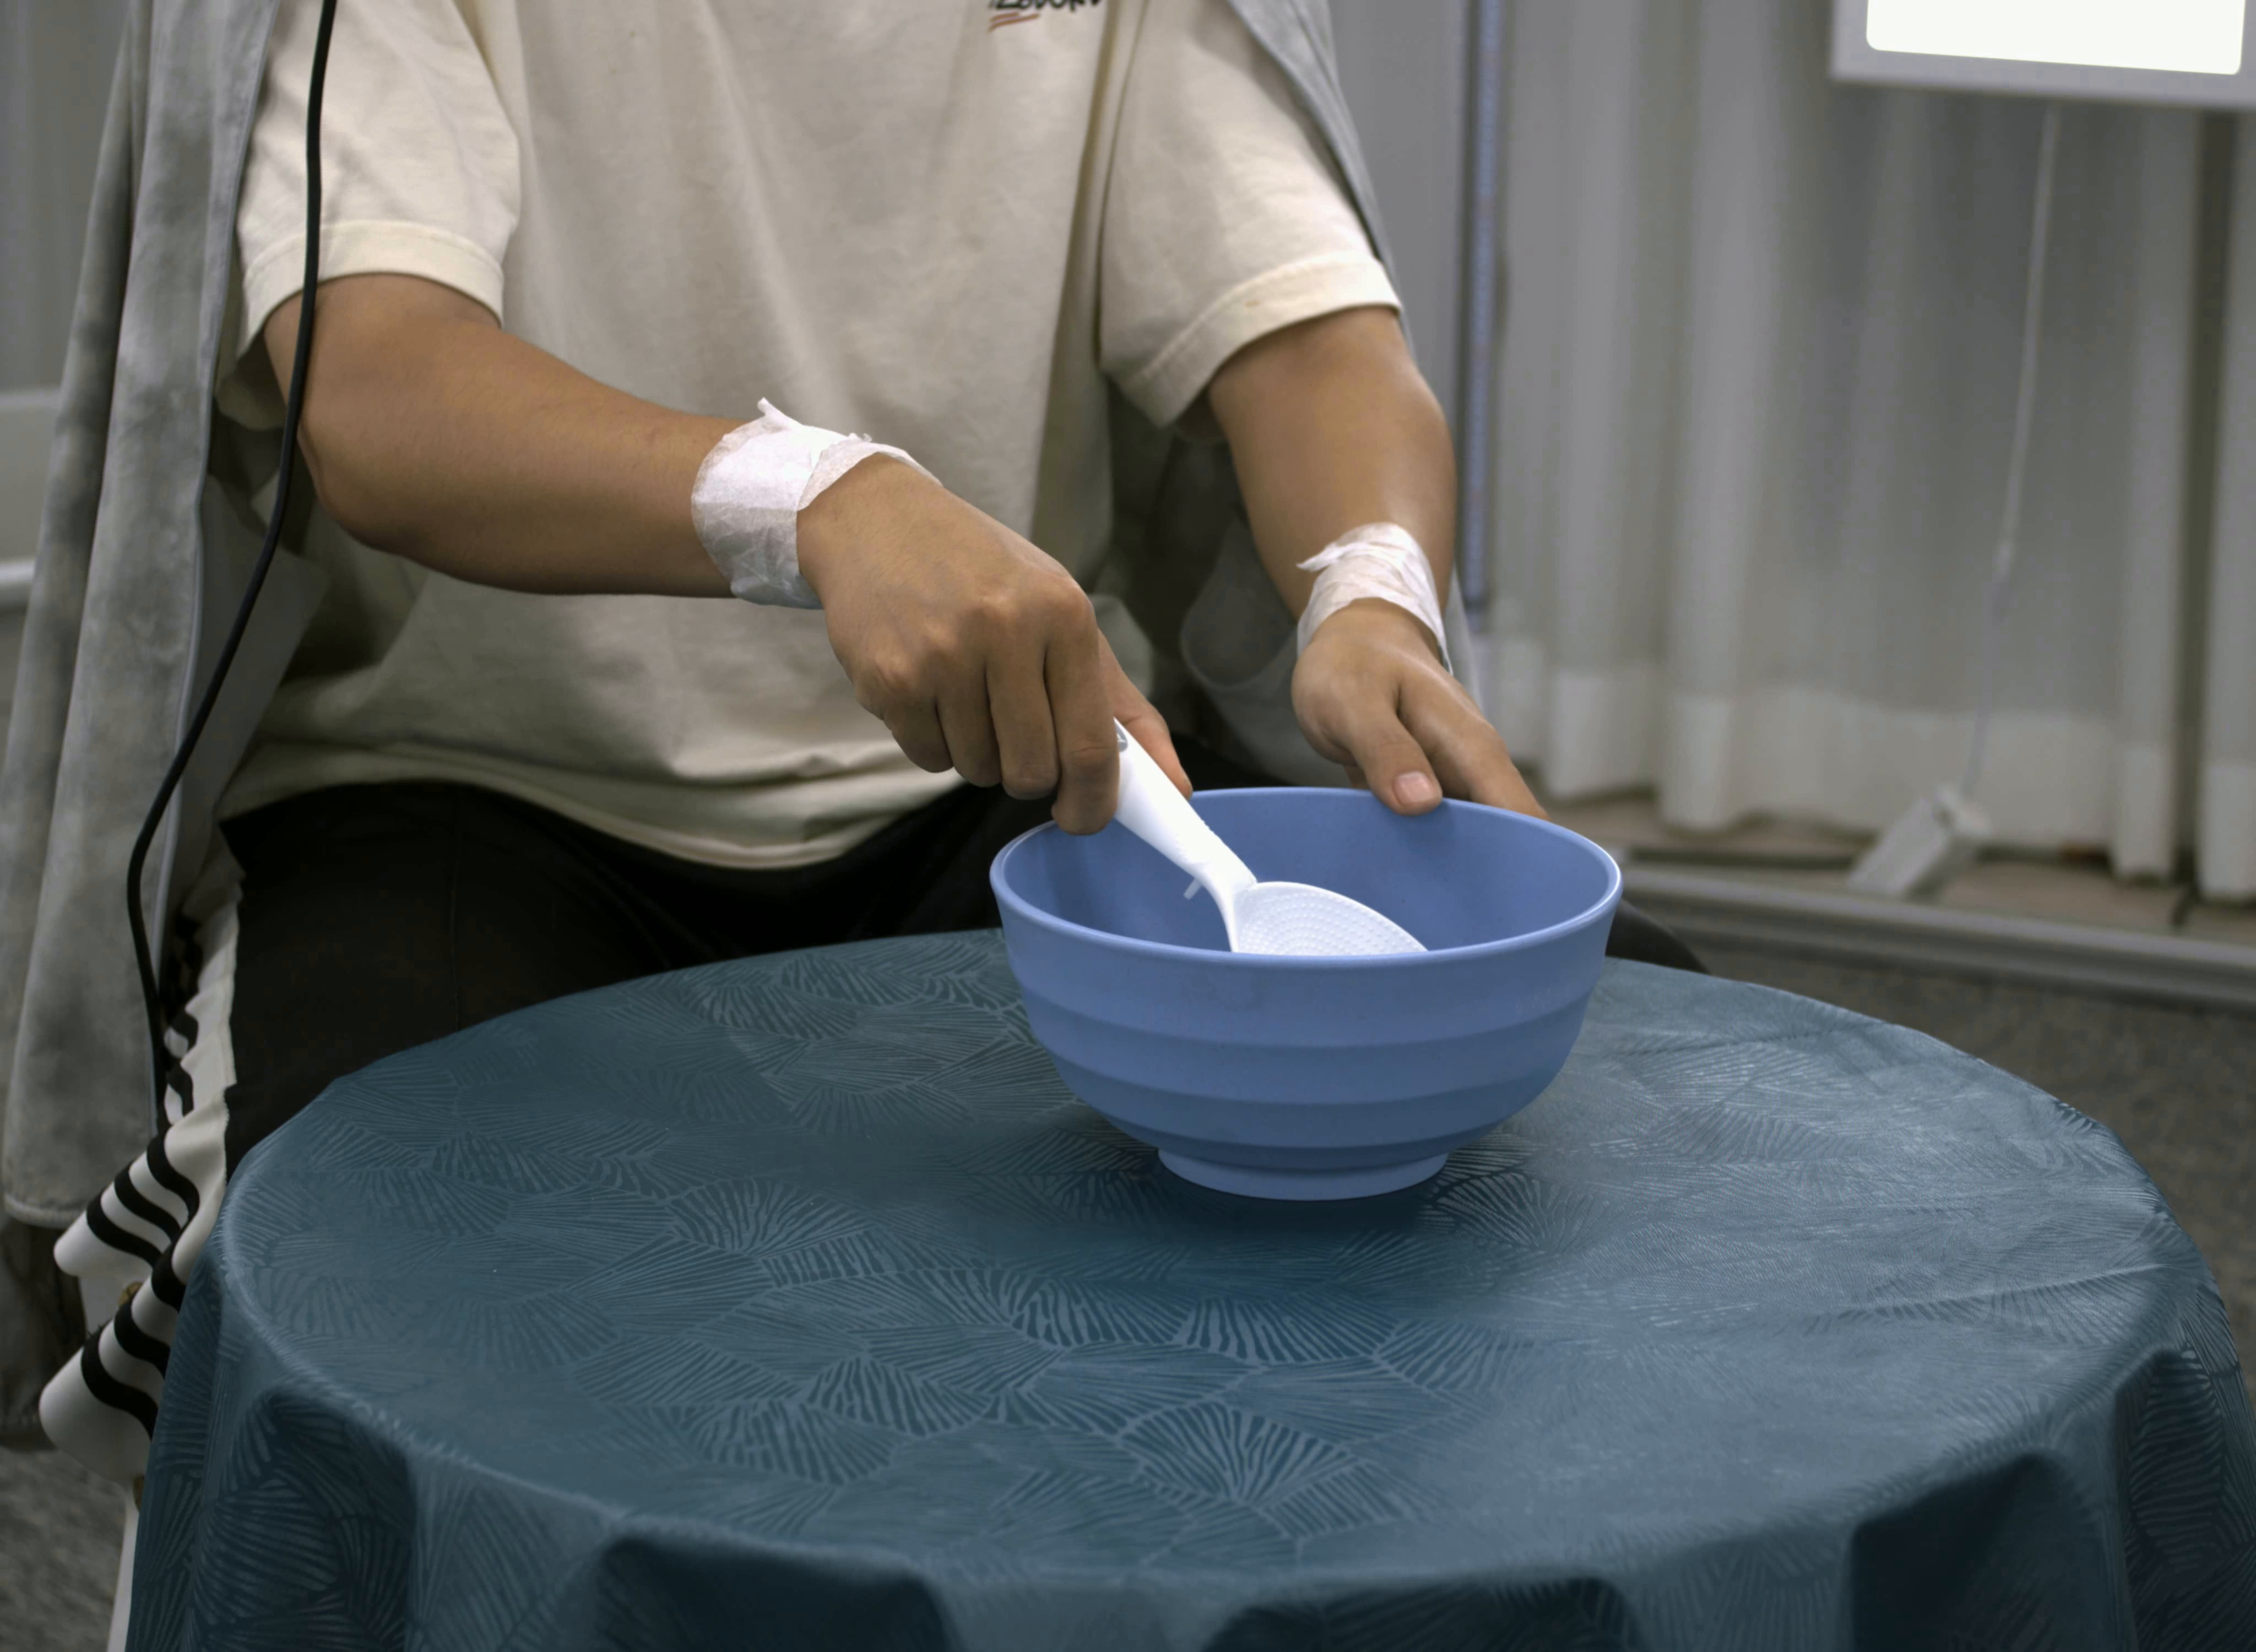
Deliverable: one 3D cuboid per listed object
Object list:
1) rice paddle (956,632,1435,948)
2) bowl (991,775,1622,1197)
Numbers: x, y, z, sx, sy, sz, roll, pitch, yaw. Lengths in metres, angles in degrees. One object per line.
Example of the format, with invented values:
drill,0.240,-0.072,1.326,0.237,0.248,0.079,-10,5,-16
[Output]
rice paddle,0.032,0.015,1.673,0.205,0.029,0.069,41,51,2
bowl,0.055,0.056,1.648,0.196,0.096,0.195,1,18,0
